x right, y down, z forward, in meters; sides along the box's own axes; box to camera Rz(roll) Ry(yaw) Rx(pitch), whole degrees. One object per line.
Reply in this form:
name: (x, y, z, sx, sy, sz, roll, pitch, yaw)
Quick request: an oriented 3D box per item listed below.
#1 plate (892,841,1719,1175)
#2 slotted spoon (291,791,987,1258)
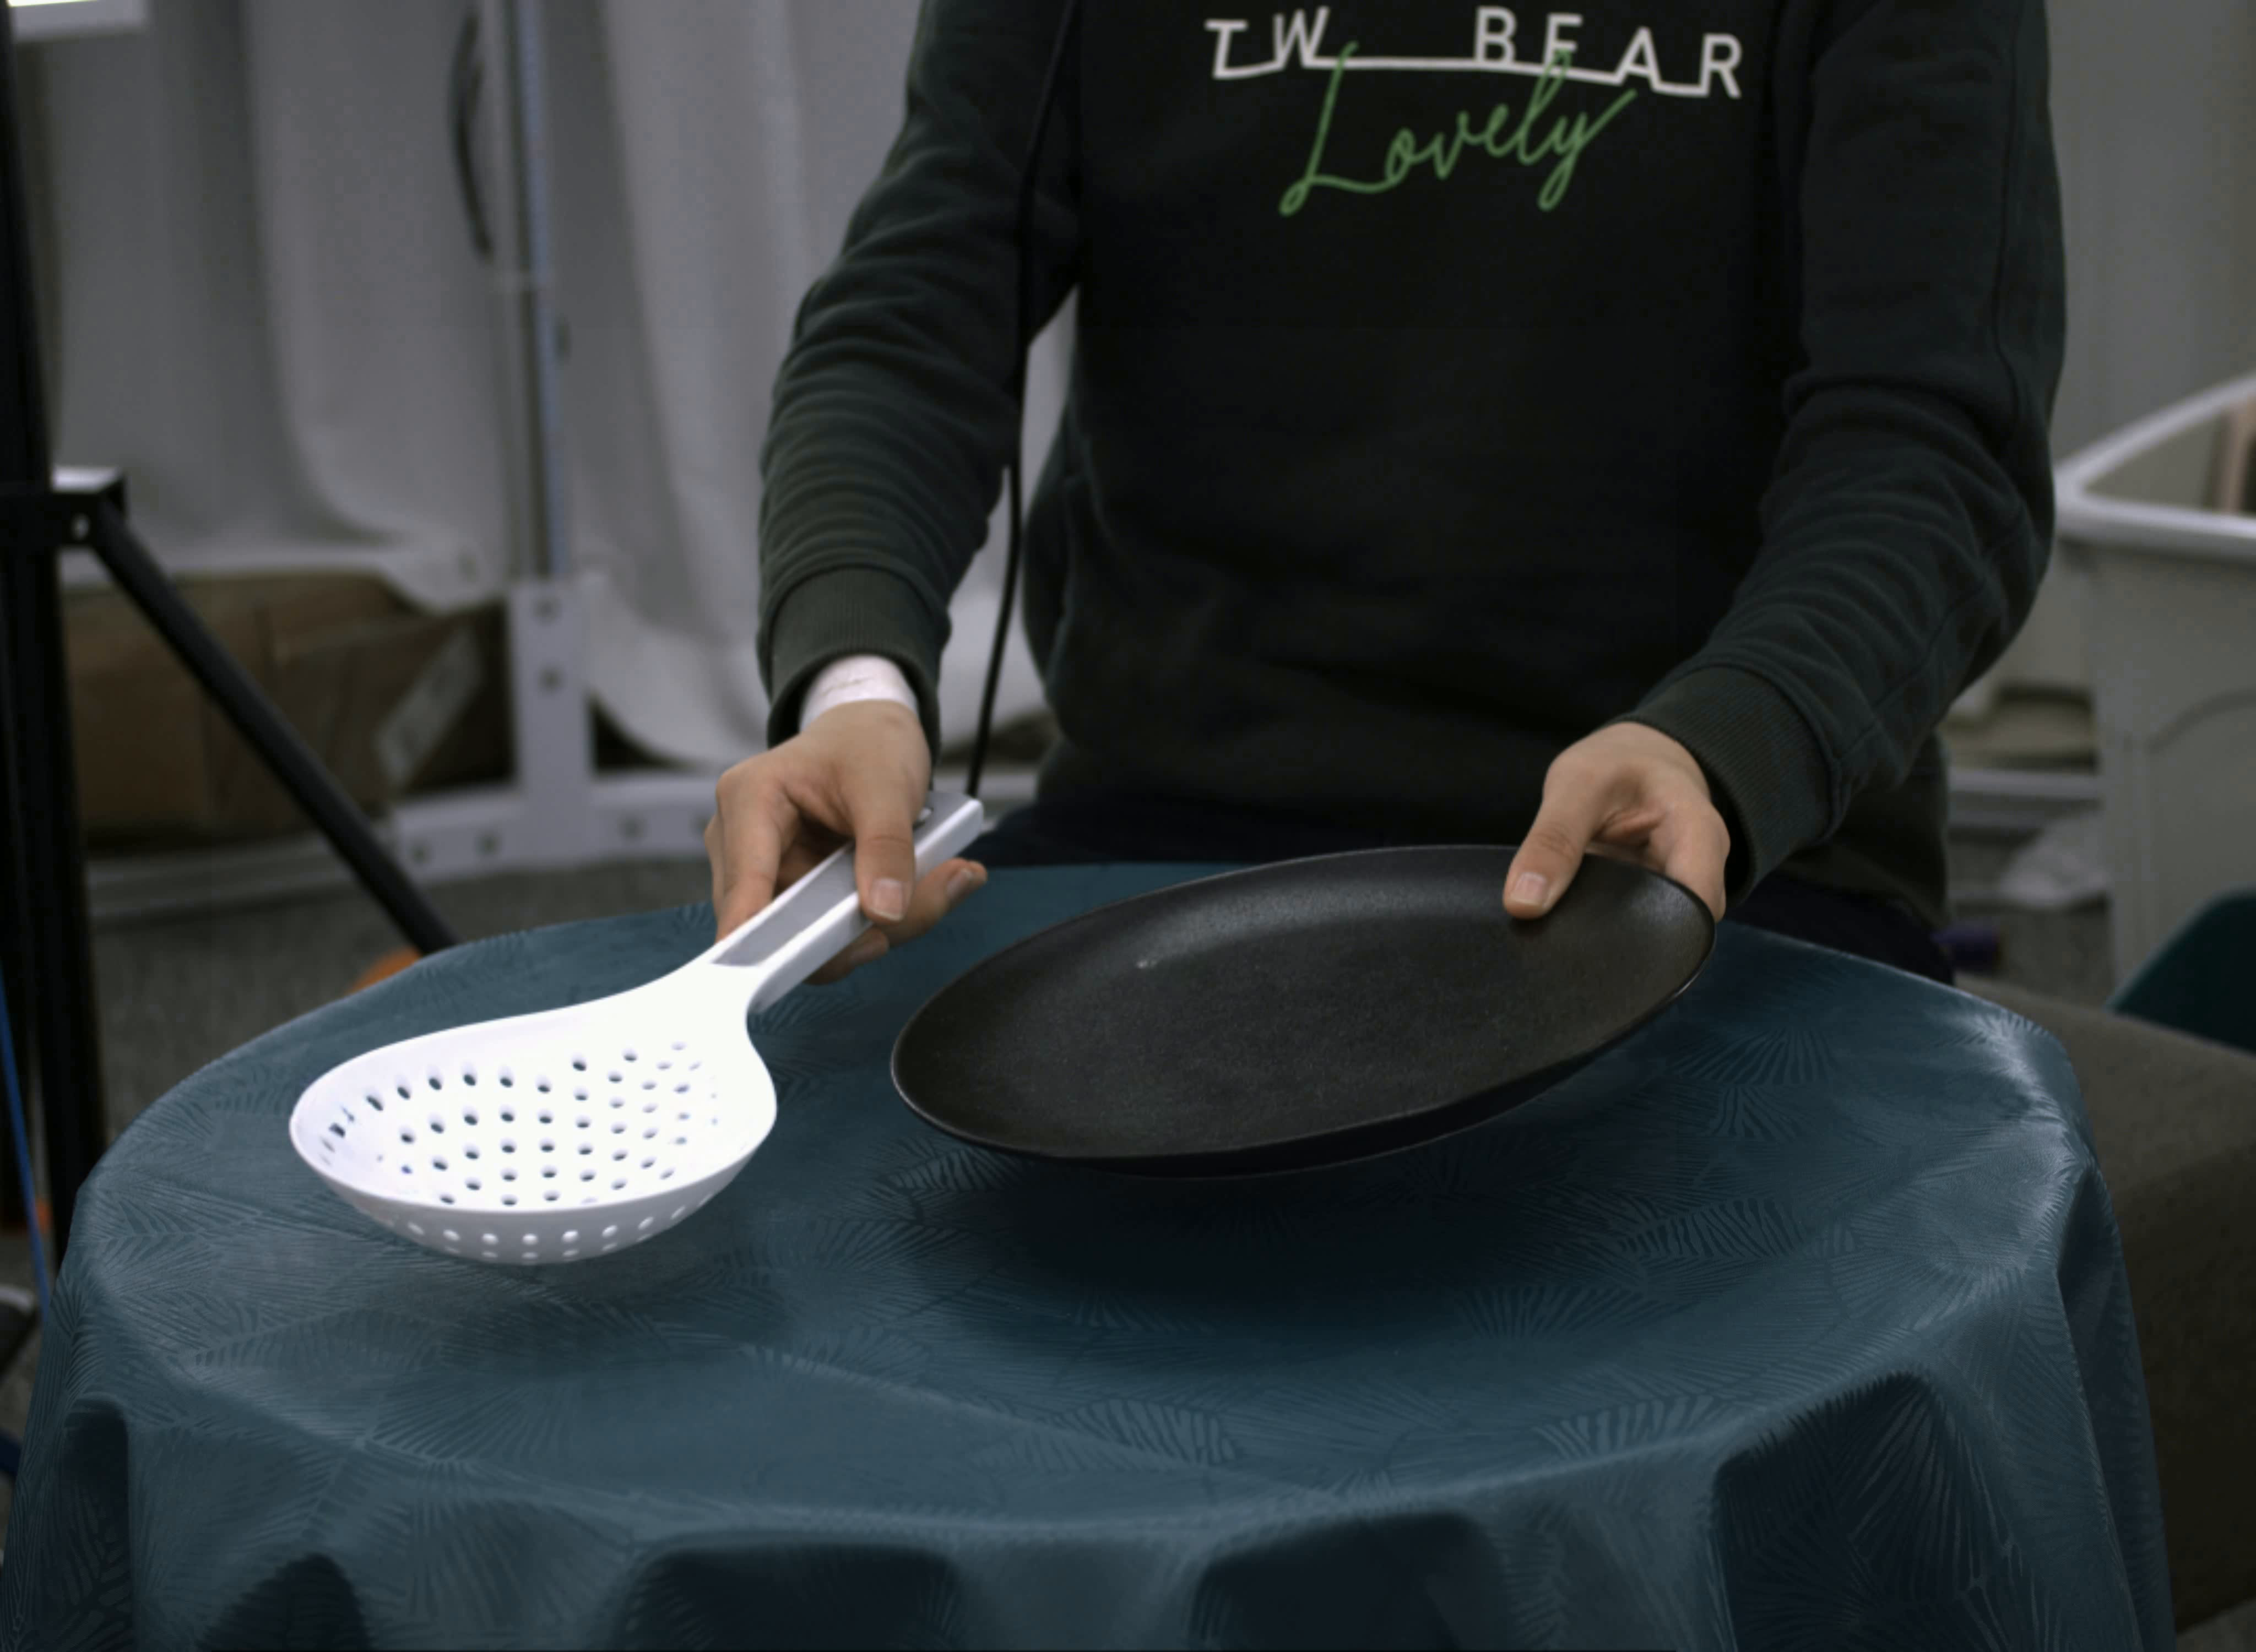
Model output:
plate: (0.052, 0.056, 1.541, 0.243, 0.023, 0.246, -11, 17, 2)
slotted spoon: (-0.125, 0.051, 1.592, 0.138, 0.045, 0.346, 8, 27, 22)
